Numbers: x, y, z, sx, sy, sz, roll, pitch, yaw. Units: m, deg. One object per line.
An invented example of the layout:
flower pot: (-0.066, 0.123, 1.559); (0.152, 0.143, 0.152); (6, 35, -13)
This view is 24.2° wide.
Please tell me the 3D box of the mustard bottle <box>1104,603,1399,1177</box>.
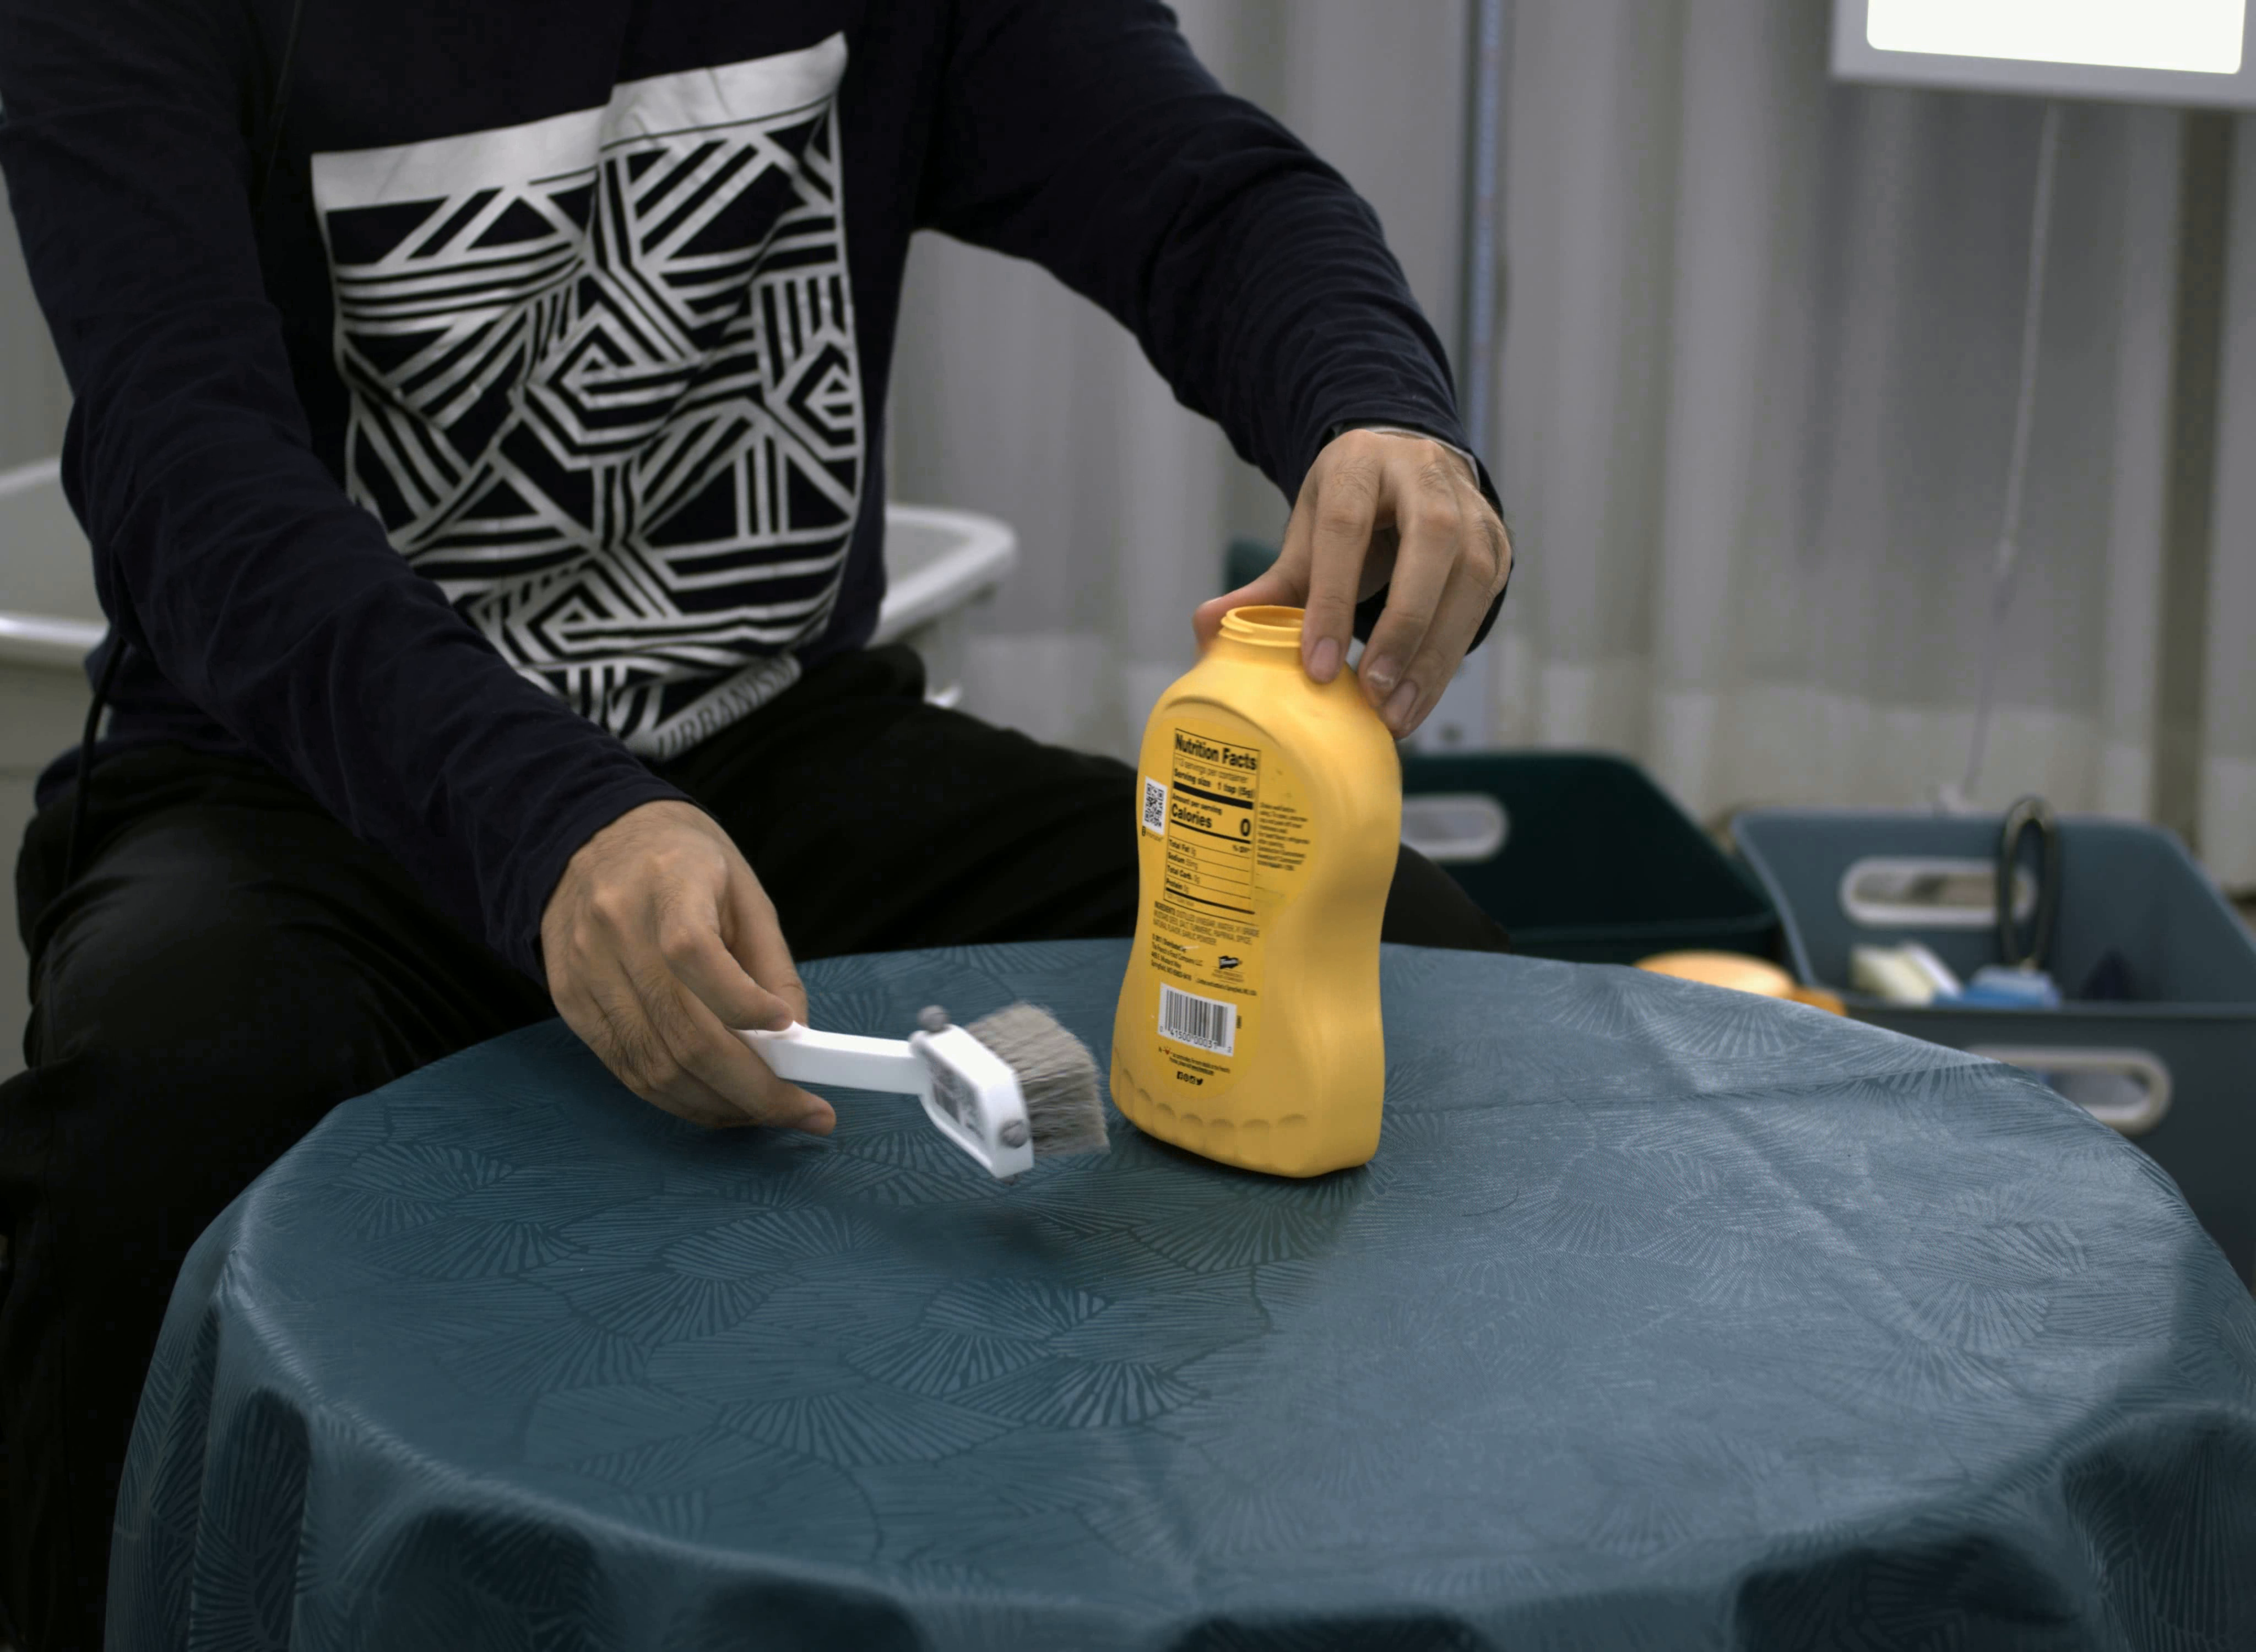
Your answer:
mustard bottle: (0.040, 0.017, 1.647); (0.097, 0.173, 0.060); (15, 16, 40)

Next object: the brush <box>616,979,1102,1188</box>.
brush: (-0.086, 0.063, 1.642); (0.050, 0.035, 0.240); (-49, 32, -17)
